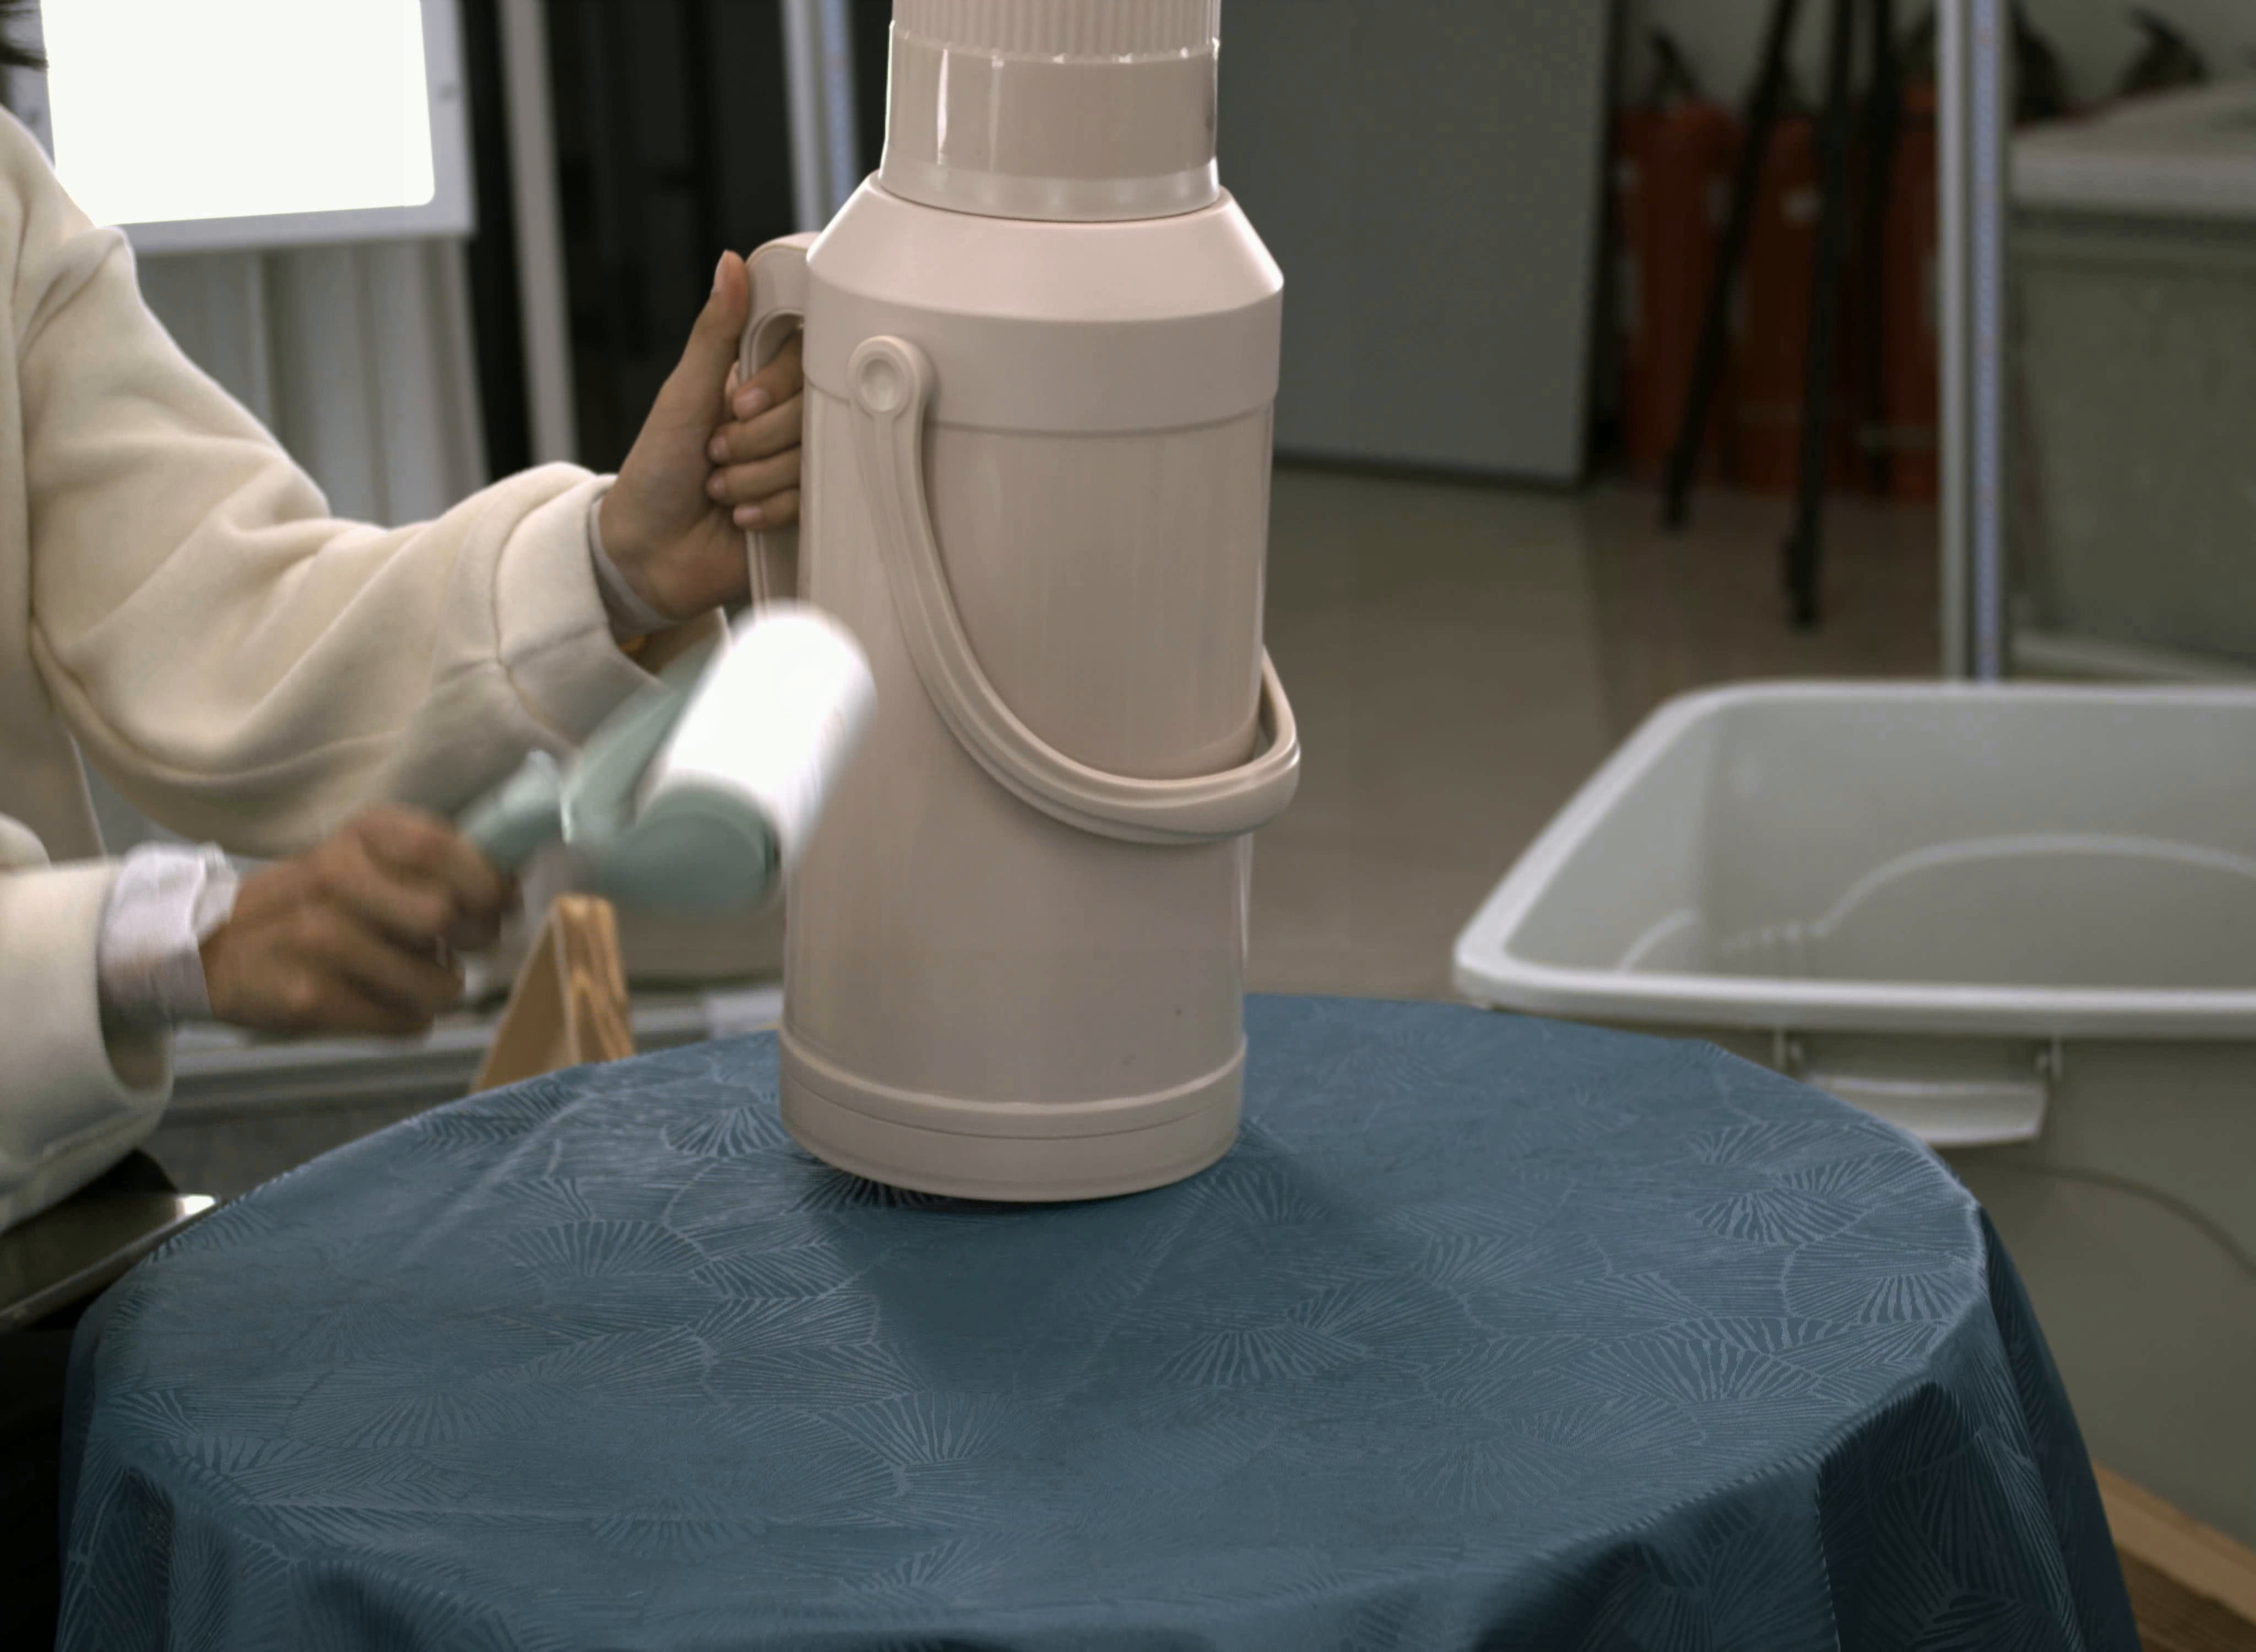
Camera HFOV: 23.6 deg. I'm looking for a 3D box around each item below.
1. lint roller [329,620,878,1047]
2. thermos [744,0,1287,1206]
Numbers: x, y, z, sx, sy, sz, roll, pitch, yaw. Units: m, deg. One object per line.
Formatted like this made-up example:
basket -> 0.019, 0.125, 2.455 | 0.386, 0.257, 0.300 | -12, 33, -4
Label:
lint roller -> -0.167, 0.010, 1.610 | 0.198, 0.048, 0.116 | -23, 23, 27
thermos -> -0.041, -0.093, 1.780 | 0.208, 0.411, 0.172 | 13, 20, 34
